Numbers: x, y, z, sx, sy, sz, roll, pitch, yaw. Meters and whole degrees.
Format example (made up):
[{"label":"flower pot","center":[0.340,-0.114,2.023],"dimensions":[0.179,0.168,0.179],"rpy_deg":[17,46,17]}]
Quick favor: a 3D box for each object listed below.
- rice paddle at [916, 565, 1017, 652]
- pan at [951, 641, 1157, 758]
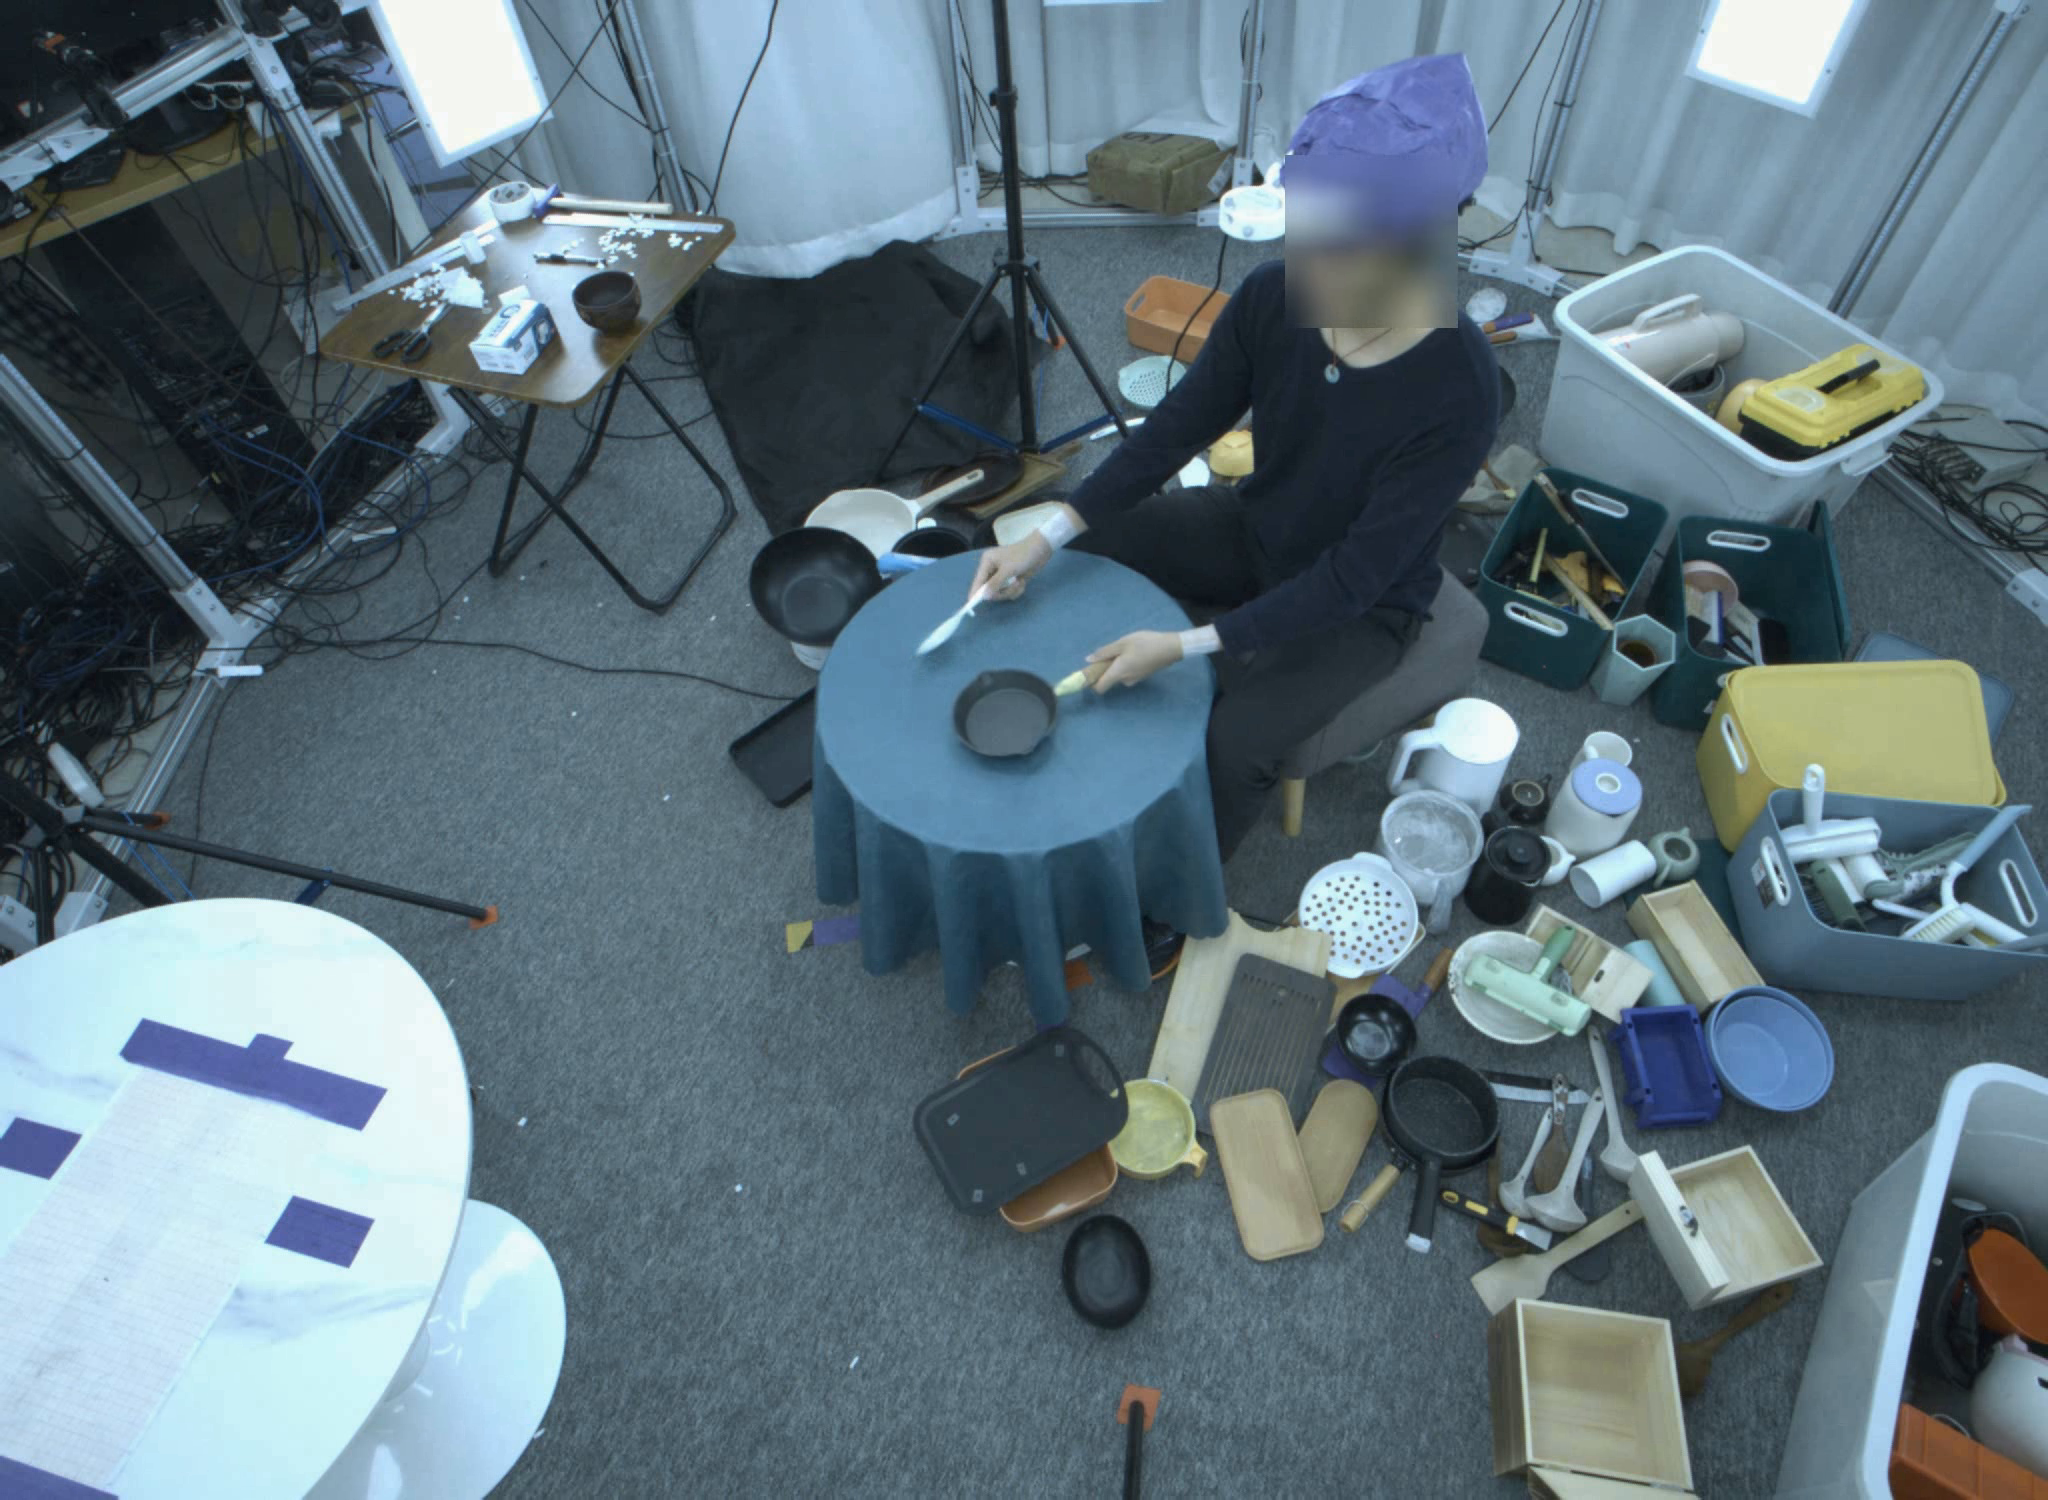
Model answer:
[{"label":"rice paddle","center":[-0.094,-0.217,1.892],"dimensions":[0.206,0.068,0.029],"rpy_deg":[-42,86,-21]},{"label":"pan","center":[0.050,-0.085,1.803],"dimensions":[0.325,0.050,0.166],"rpy_deg":[-23,56,-7]}]
